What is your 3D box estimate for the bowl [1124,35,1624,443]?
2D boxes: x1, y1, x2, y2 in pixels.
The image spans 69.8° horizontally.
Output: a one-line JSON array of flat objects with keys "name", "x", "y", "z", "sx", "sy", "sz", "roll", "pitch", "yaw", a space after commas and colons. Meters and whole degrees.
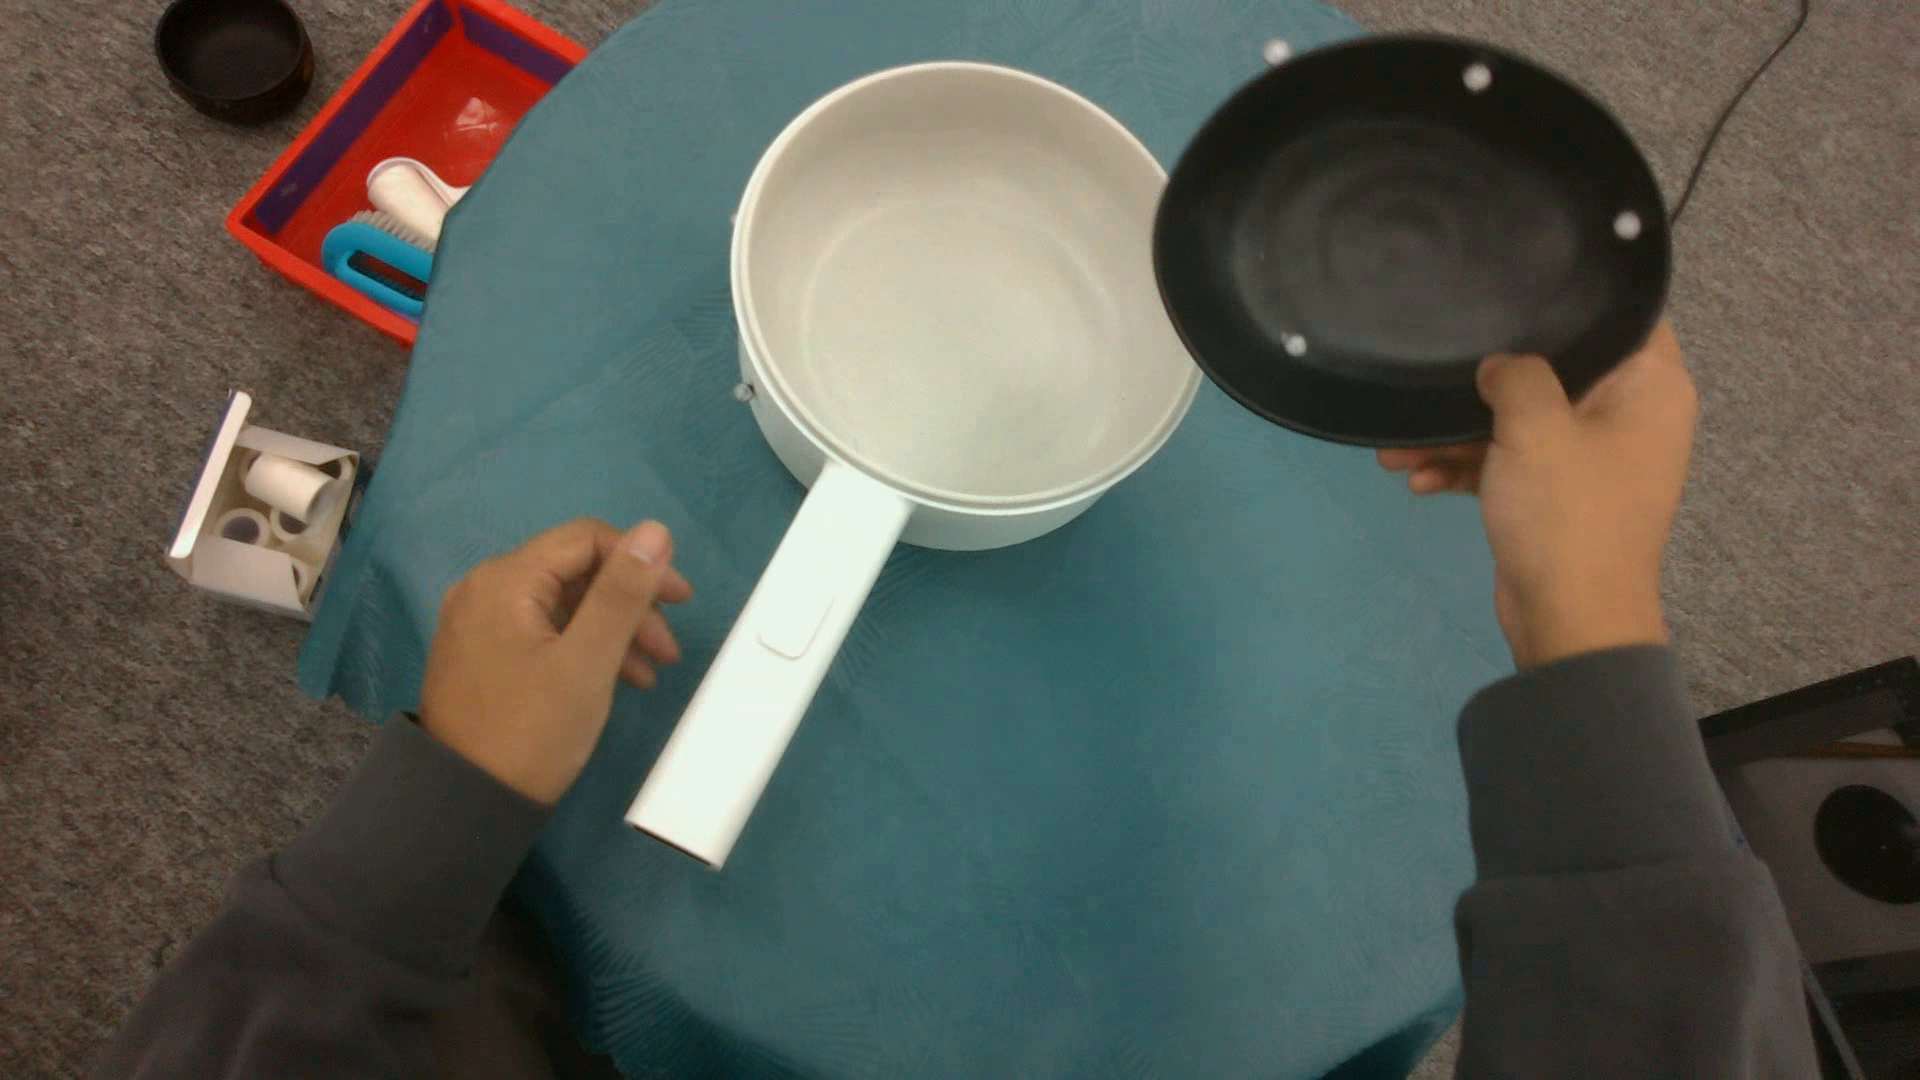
[{"name": "bowl", "x": 0.148, "y": -0.109, "z": 0.499, "sx": 0.170, "sy": 0.067, "sz": 0.137, "roll": 9, "pitch": 110, "yaw": 13}]

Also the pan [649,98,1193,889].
[{"name": "pan", "x": -0.033, "y": -0.021, "z": 0.603, "sx": 0.201, "sy": 0.102, "sz": 0.356, "roll": 25, "pitch": 73, "yaw": -3}]
